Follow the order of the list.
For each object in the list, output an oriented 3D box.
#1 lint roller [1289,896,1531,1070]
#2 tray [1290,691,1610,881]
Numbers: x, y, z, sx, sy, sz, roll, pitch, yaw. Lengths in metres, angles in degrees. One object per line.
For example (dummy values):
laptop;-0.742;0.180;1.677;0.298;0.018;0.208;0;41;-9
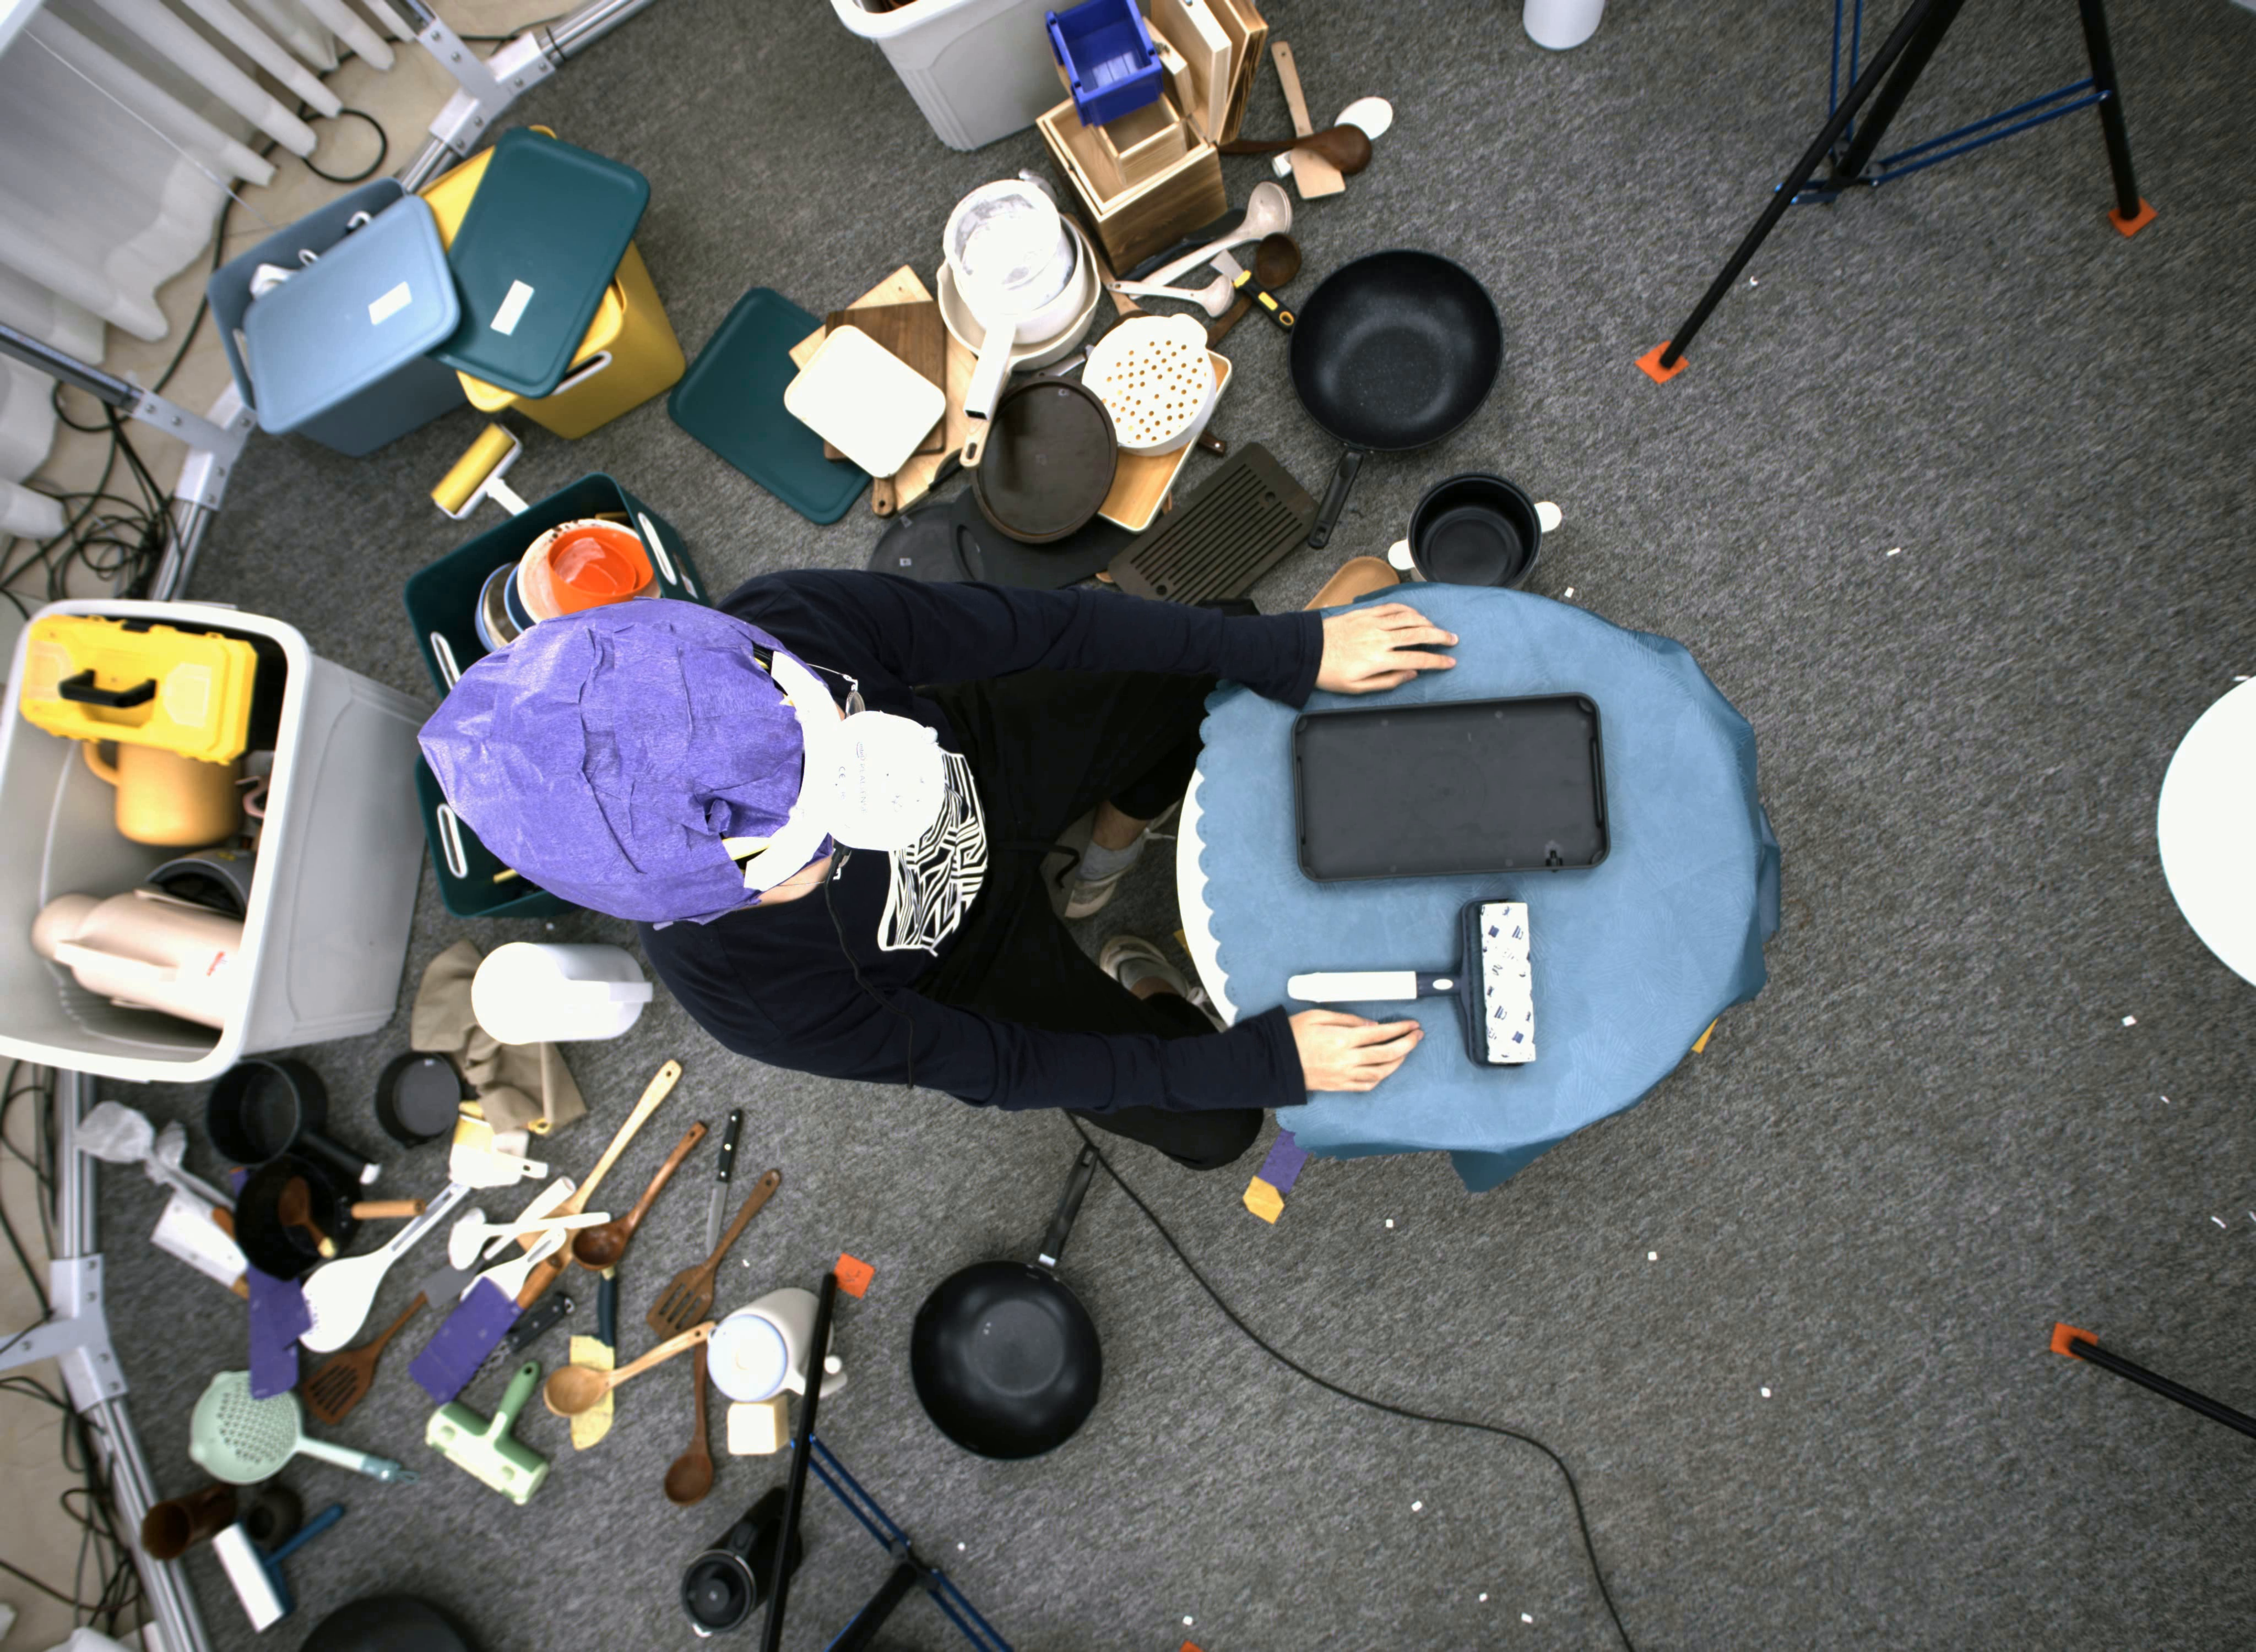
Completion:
lint roller;0.289;0.165;1.431;0.248;0.050;0.175;-4;87;13
tray;0.333;-0.041;1.436;0.319;0.037;0.183;-3;86;11
